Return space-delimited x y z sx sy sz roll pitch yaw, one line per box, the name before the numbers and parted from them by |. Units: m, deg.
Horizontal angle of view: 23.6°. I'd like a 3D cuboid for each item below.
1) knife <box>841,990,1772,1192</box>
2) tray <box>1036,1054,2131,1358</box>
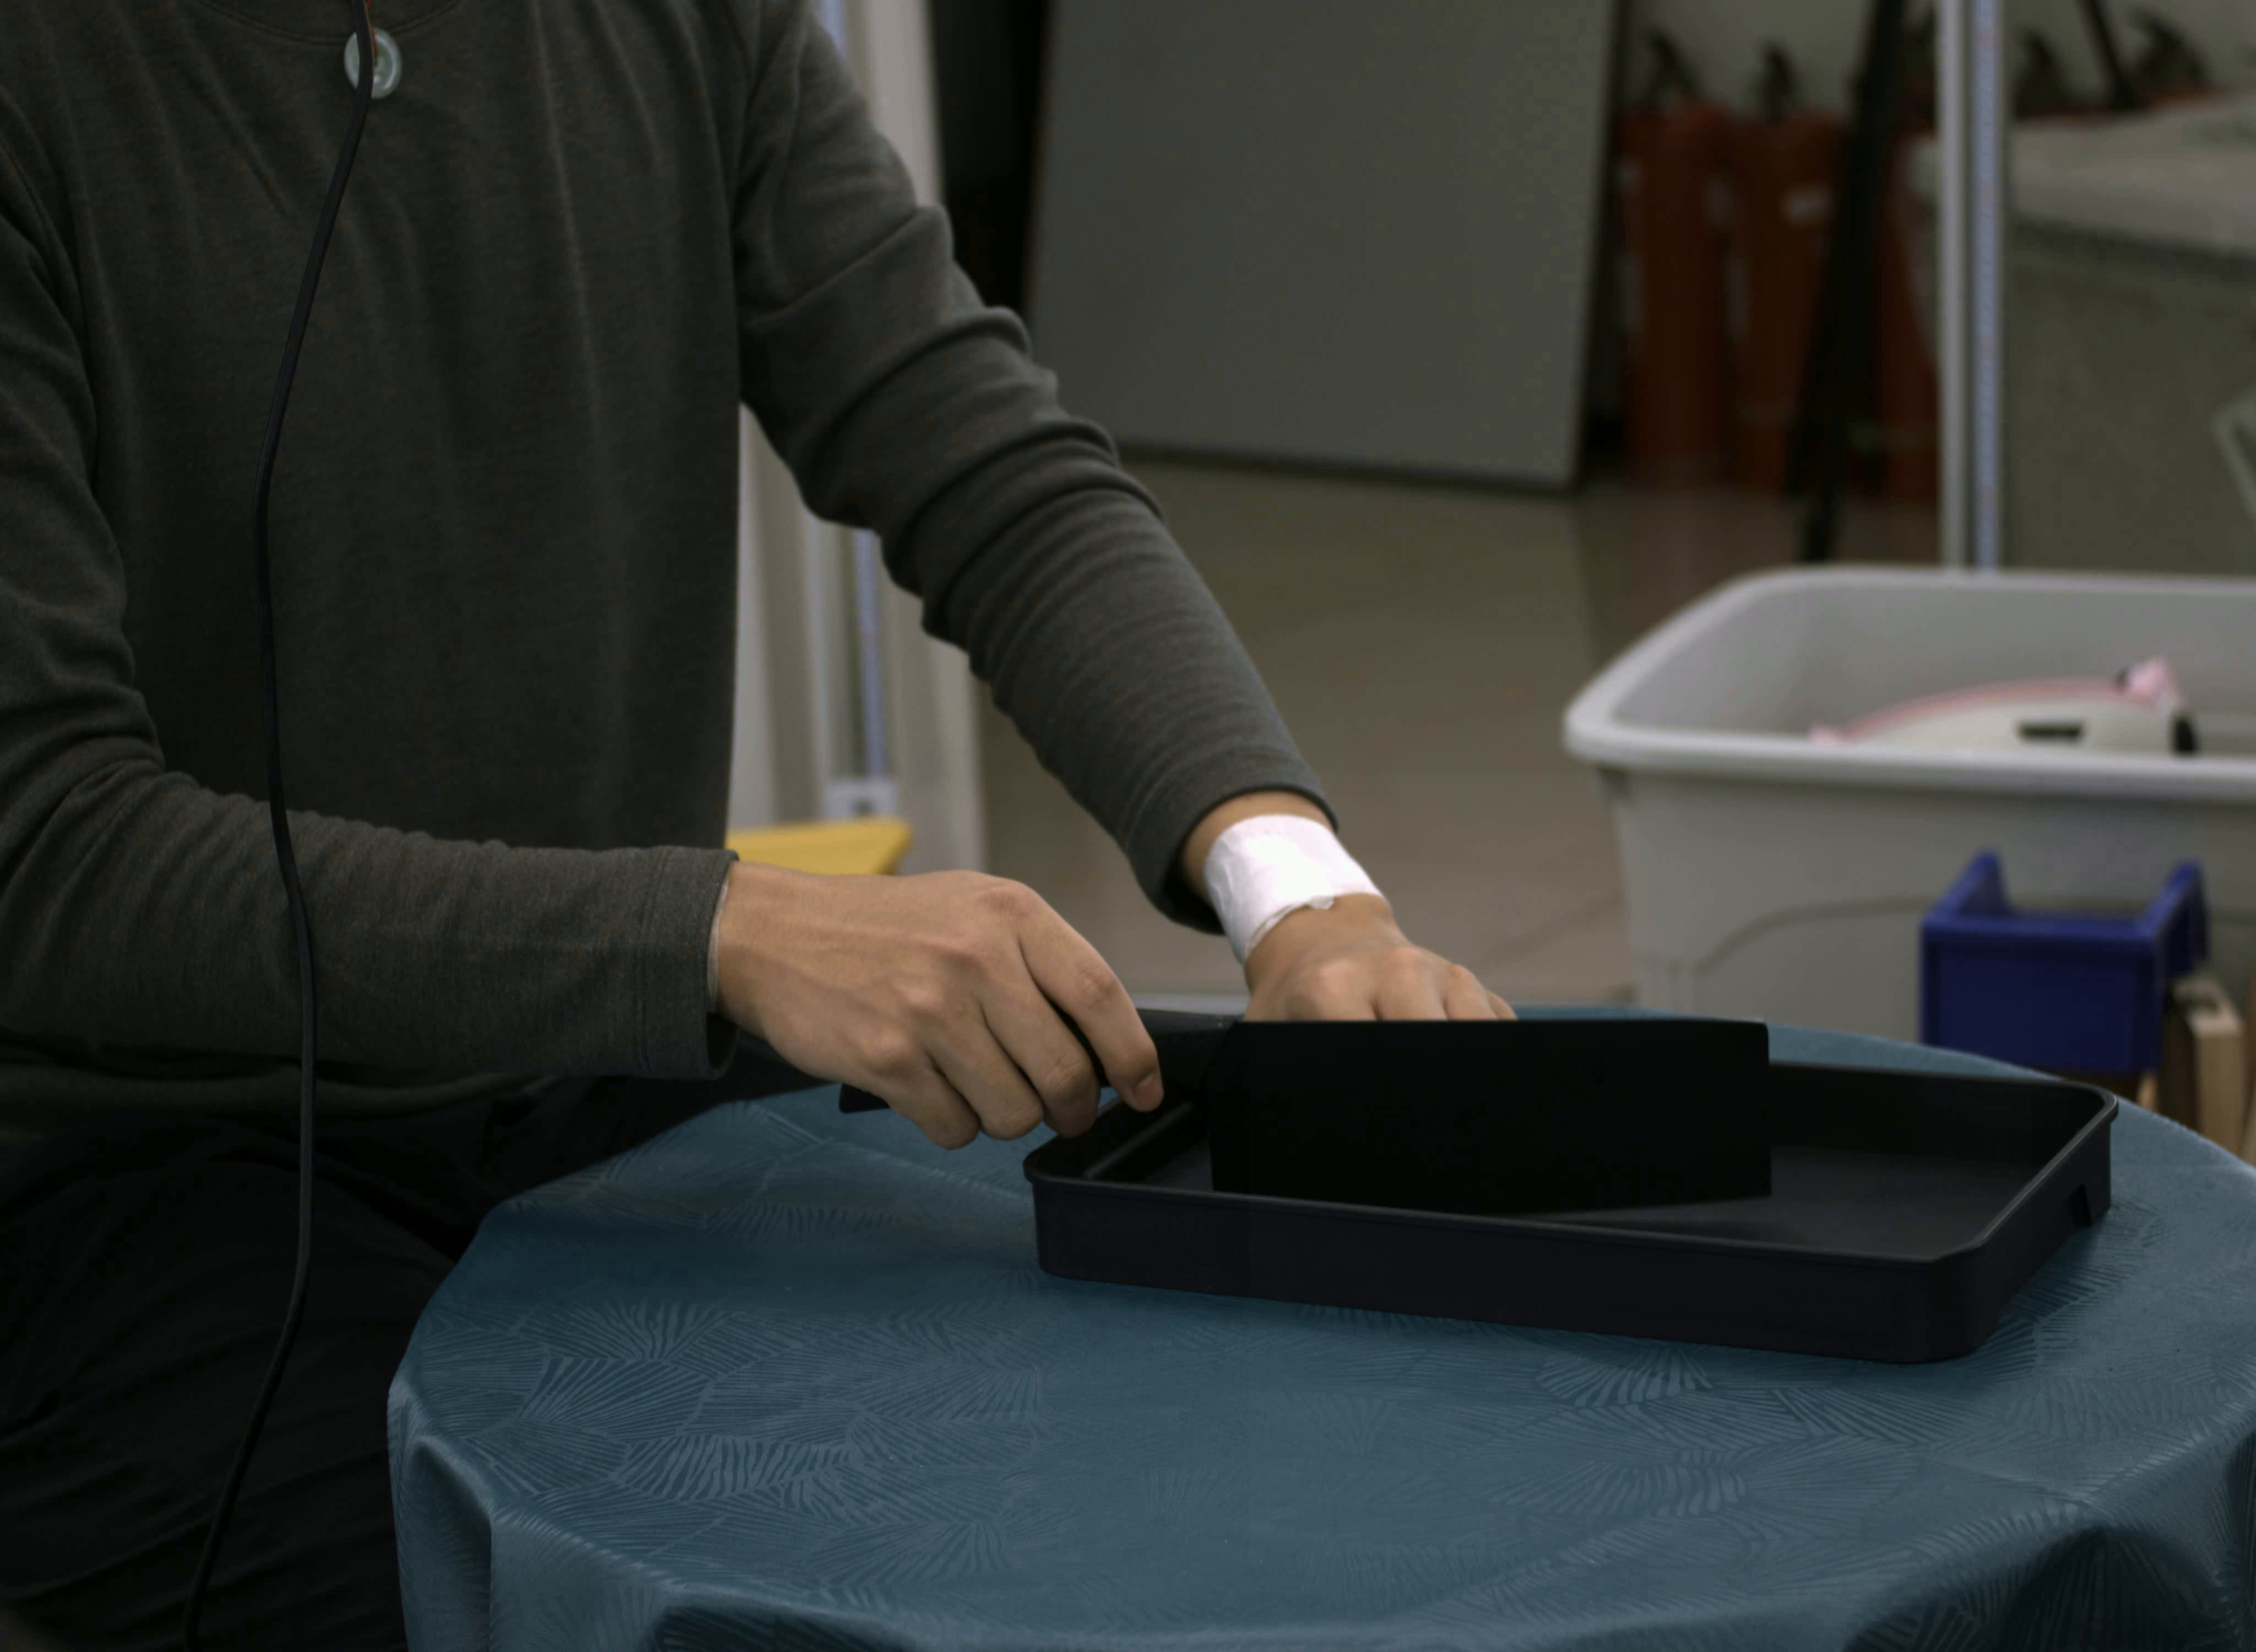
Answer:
knife | 0.055 0.087 1.709 0.300 0.082 0.021 3 15 11
tray | 0.144 0.111 1.695 0.318 0.037 0.182 3 15 26
